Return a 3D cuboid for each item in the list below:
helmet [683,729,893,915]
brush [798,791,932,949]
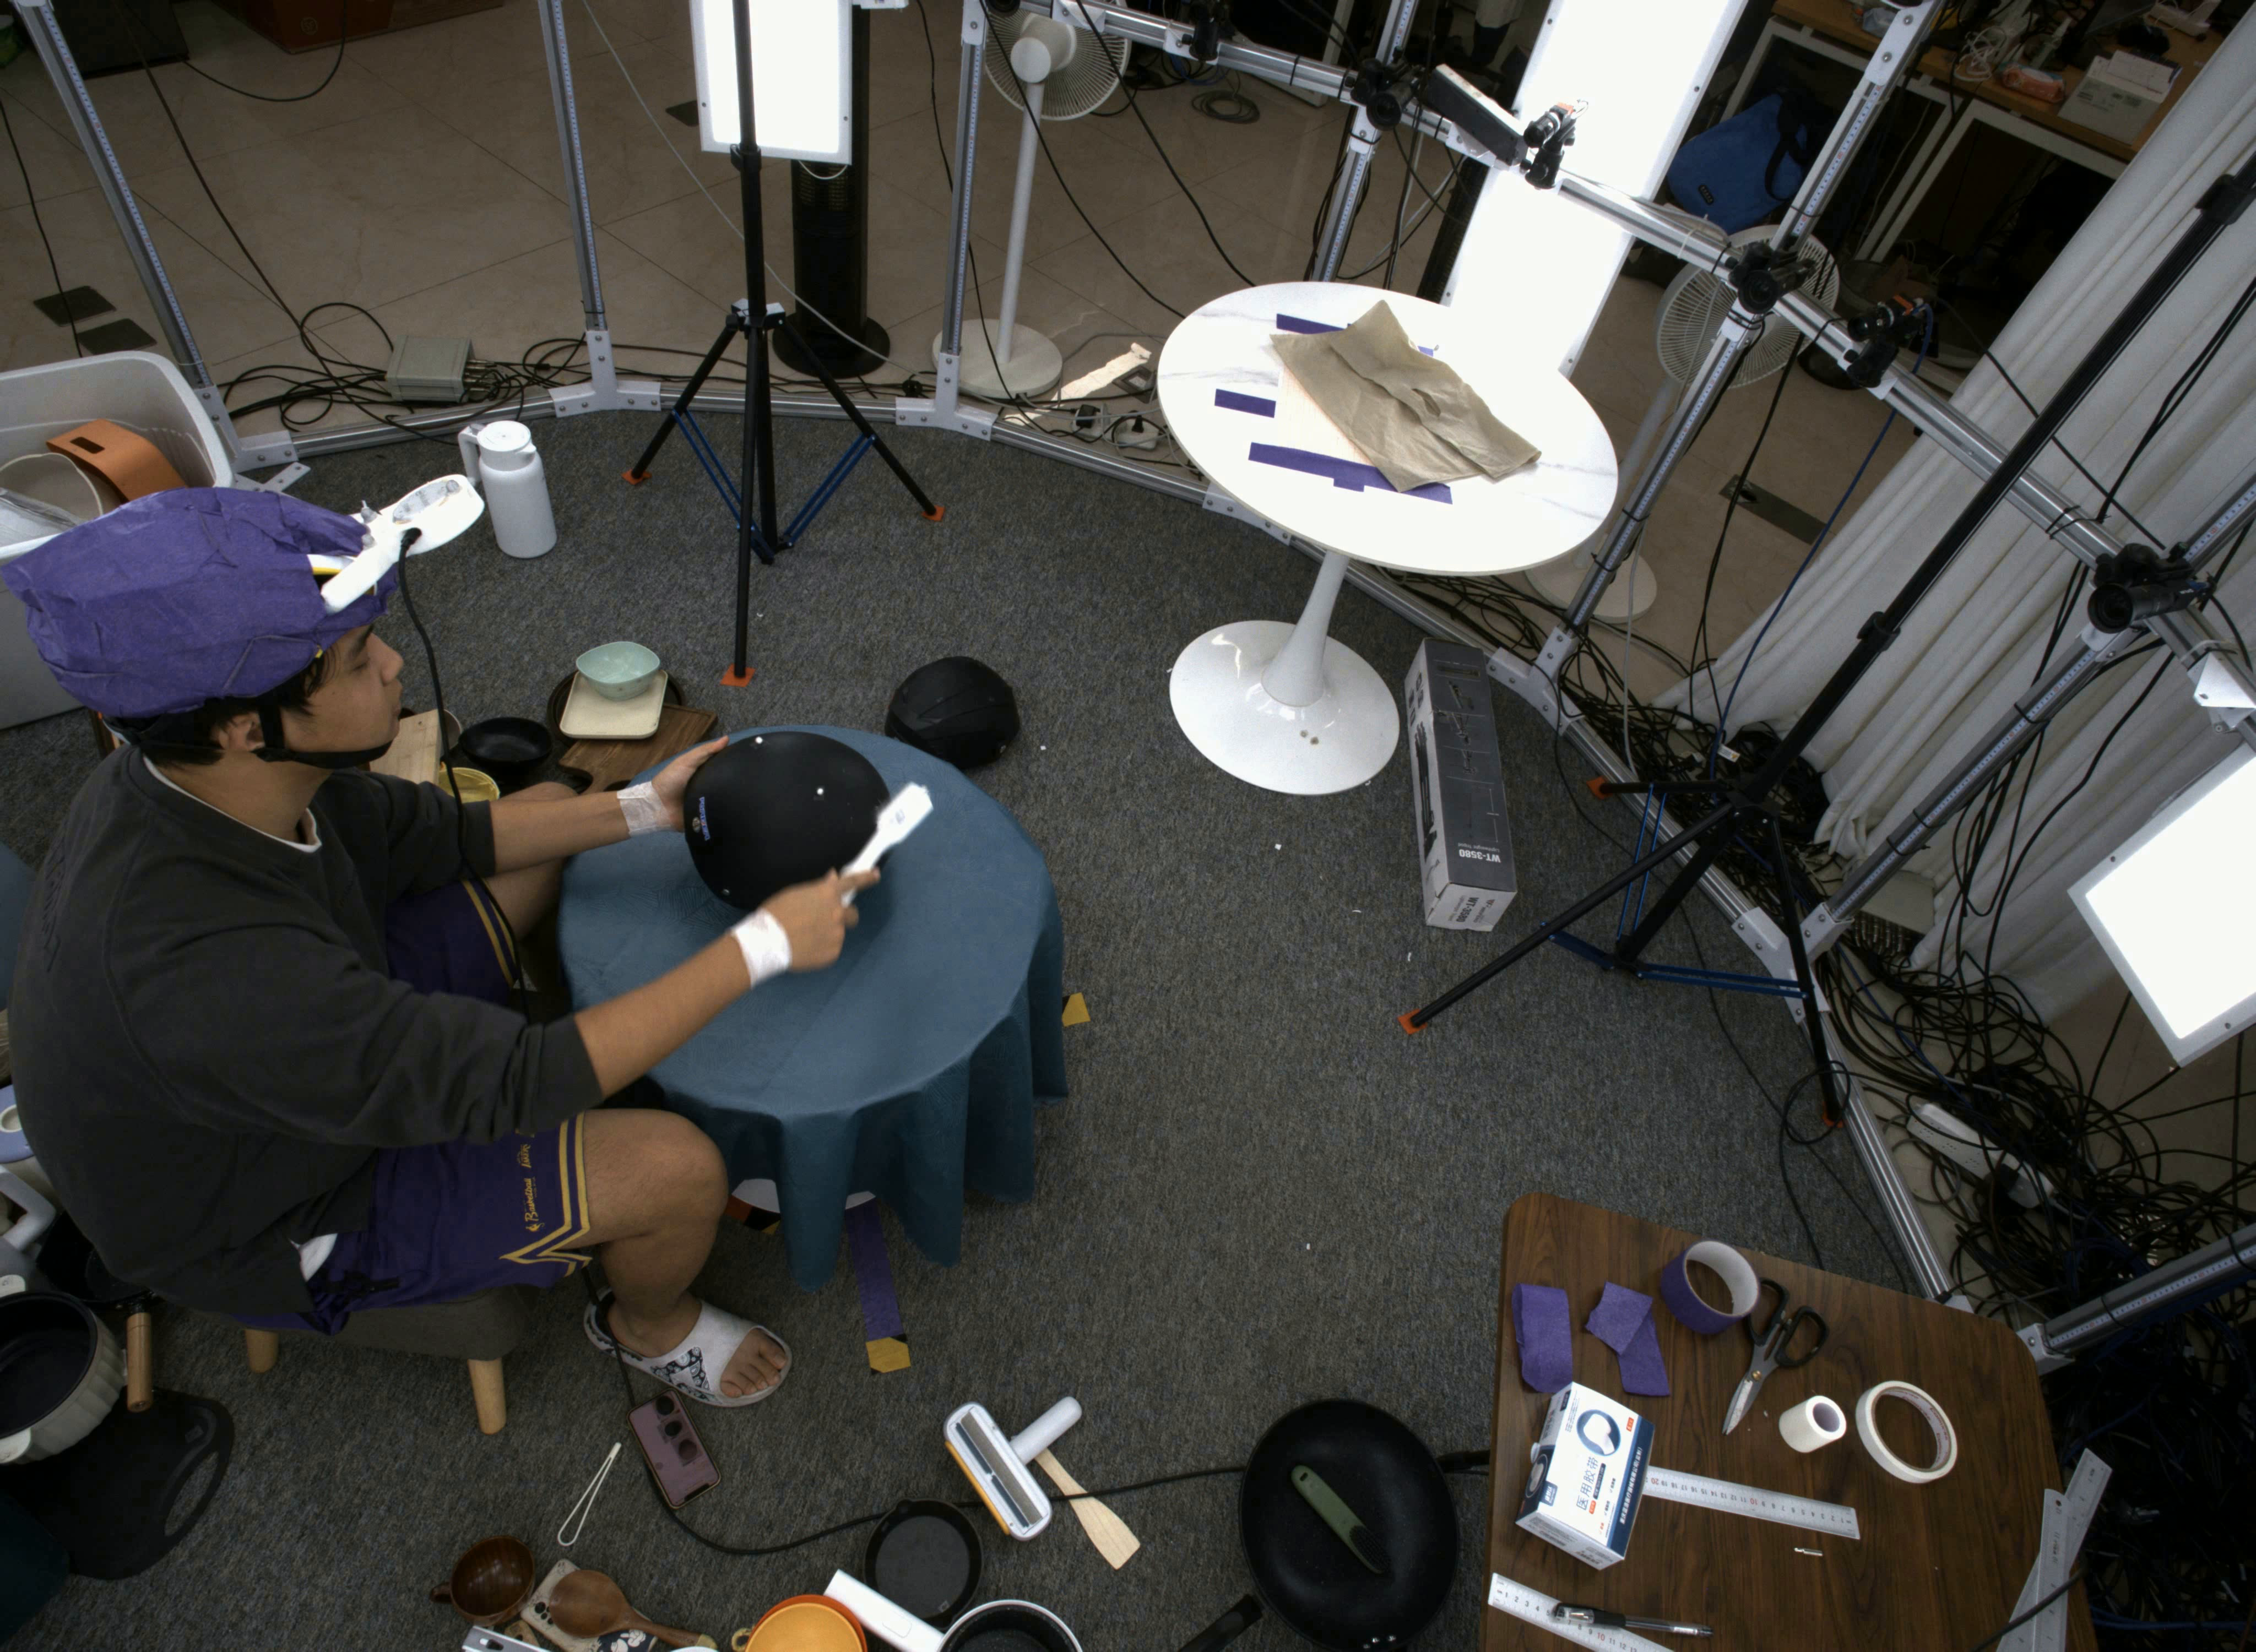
[{"bbox_3d":[-0.396,-0.015,1.586,0.279,0.164,0.229,3,73,-40],"label":"helmet"},{"bbox_3d":[-0.292,0.046,1.421,0.035,0.049,0.242,48,51,-18],"label":"brush"}]
